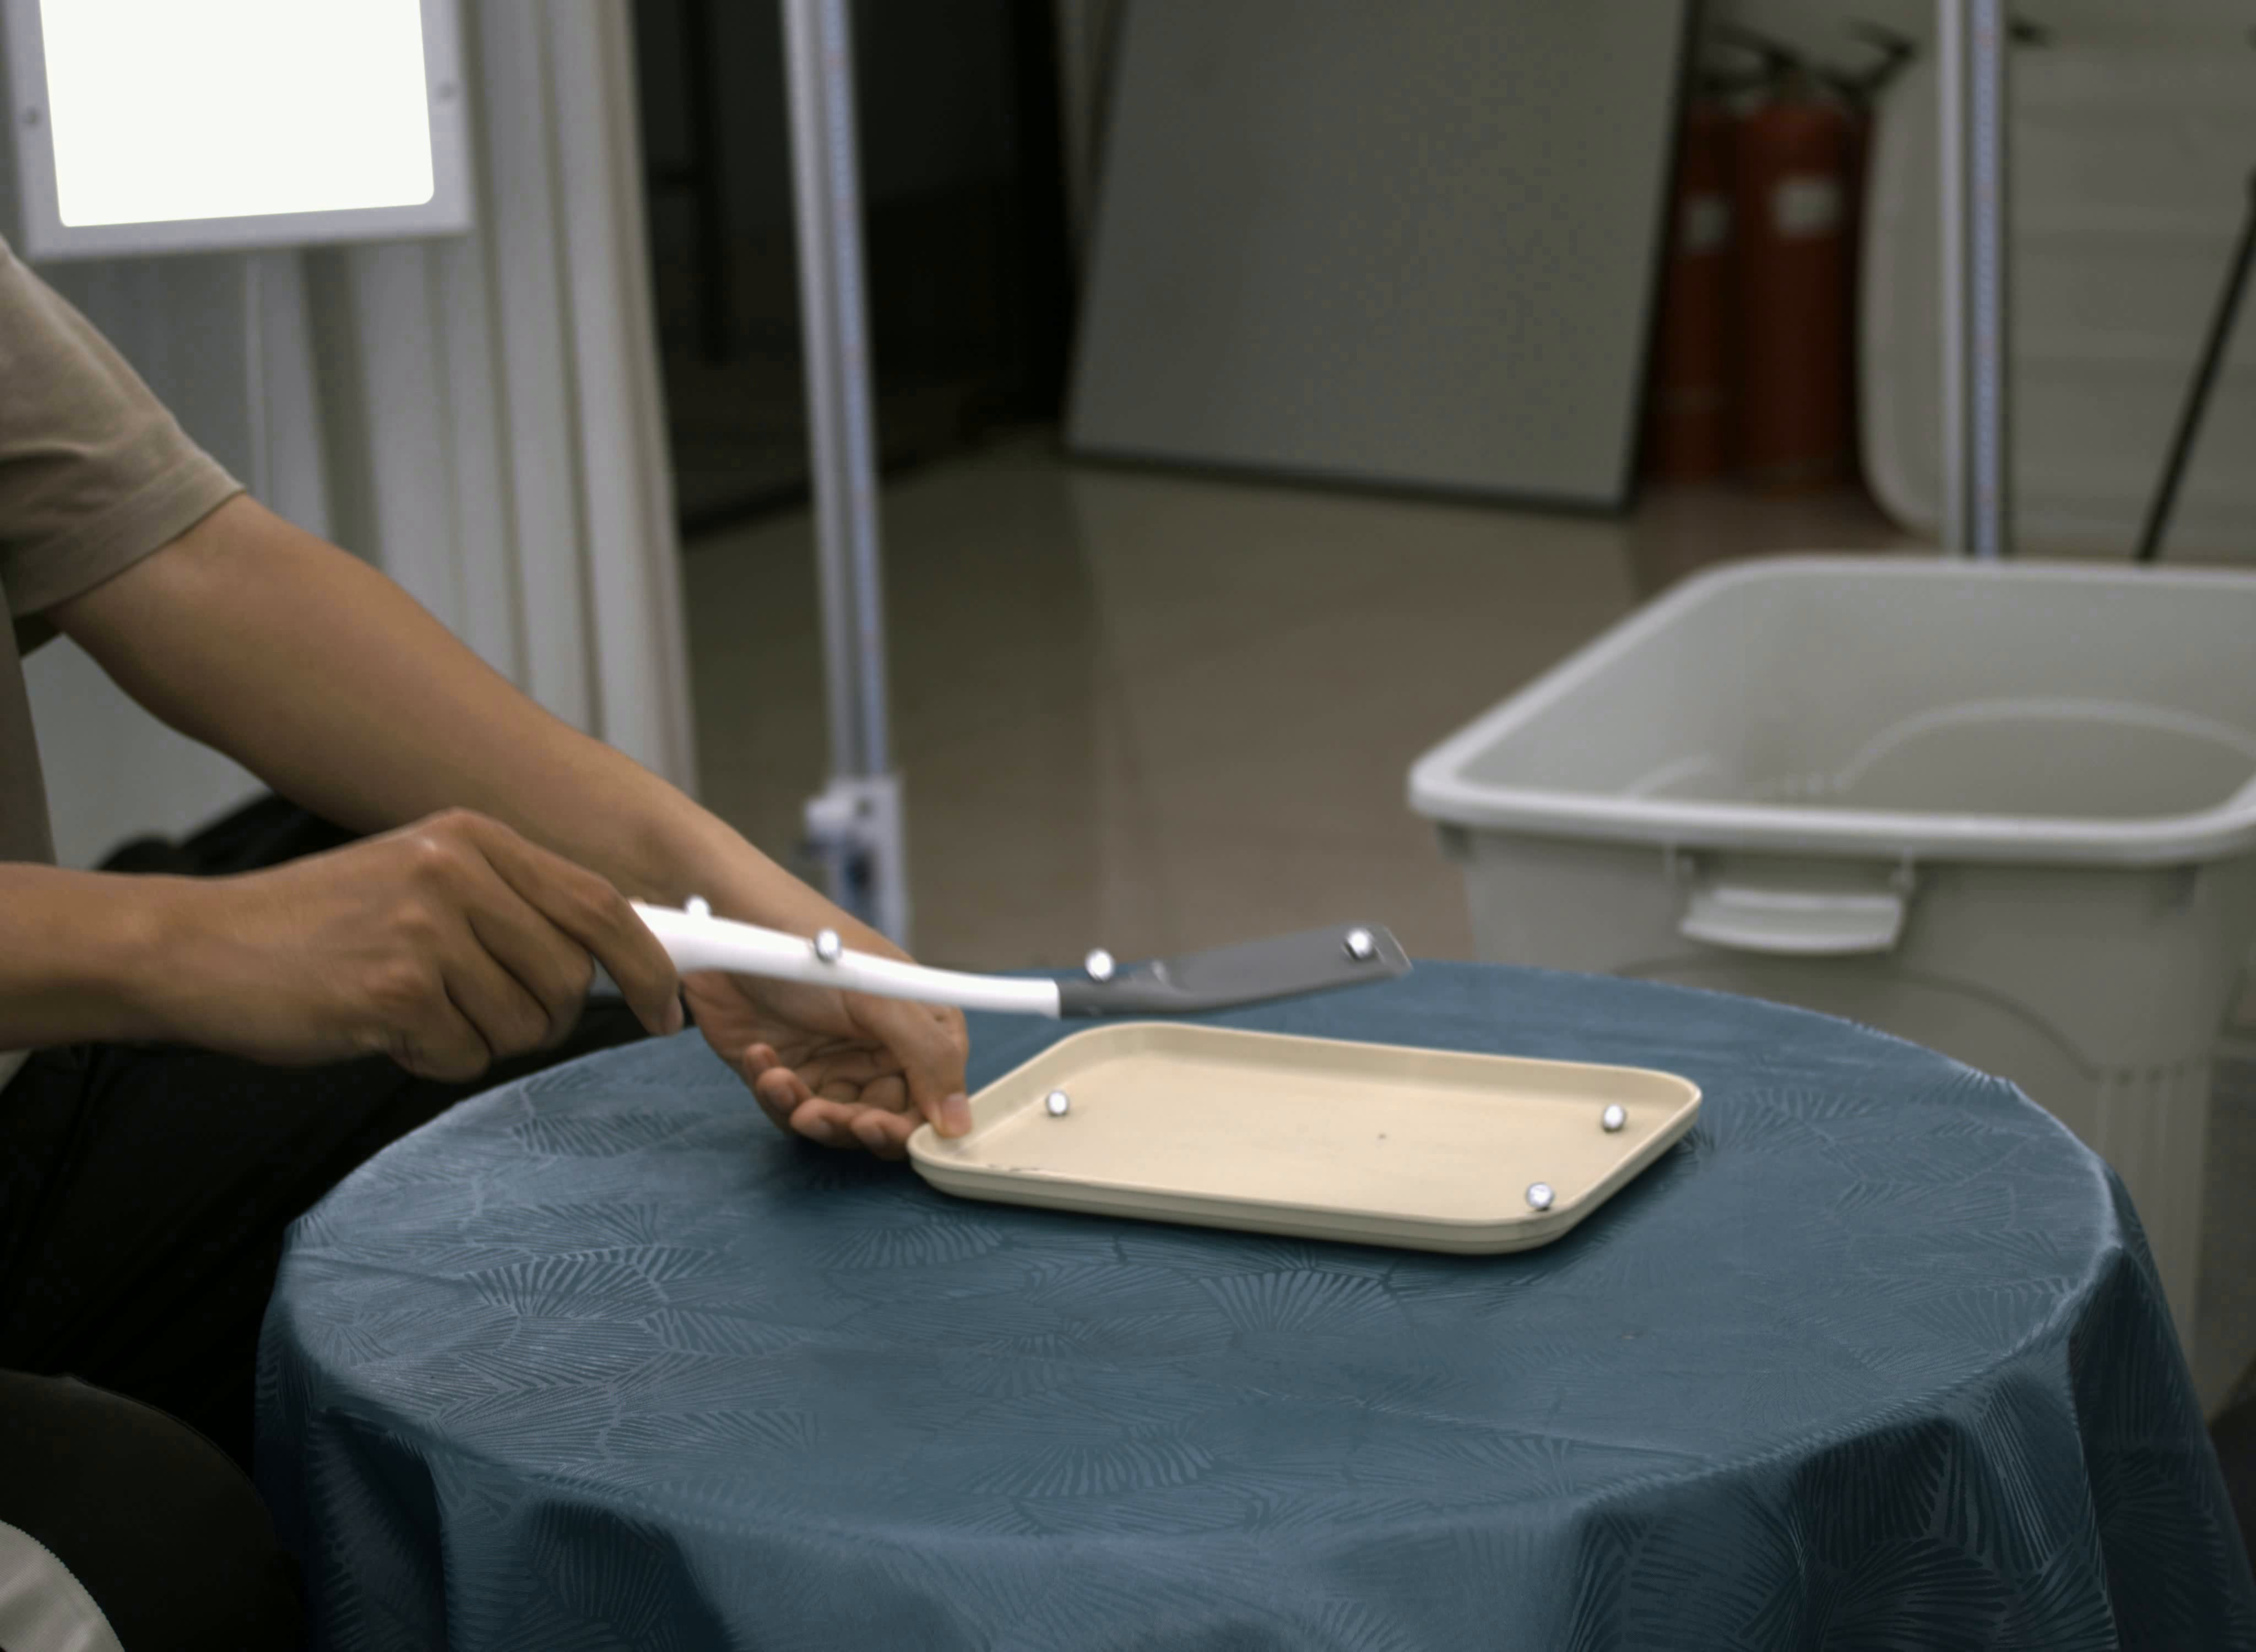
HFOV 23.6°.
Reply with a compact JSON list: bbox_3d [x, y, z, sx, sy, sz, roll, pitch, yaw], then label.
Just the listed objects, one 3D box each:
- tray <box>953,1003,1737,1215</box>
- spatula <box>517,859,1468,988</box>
[{"bbox_3d":[0.074,0.094,1.802,0.240,0.018,0.169,3,14,28],"label":"tray"},{"bbox_3d":[-0.040,0.031,1.619,0.283,0.032,0.059,2,11,-7],"label":"spatula"}]
